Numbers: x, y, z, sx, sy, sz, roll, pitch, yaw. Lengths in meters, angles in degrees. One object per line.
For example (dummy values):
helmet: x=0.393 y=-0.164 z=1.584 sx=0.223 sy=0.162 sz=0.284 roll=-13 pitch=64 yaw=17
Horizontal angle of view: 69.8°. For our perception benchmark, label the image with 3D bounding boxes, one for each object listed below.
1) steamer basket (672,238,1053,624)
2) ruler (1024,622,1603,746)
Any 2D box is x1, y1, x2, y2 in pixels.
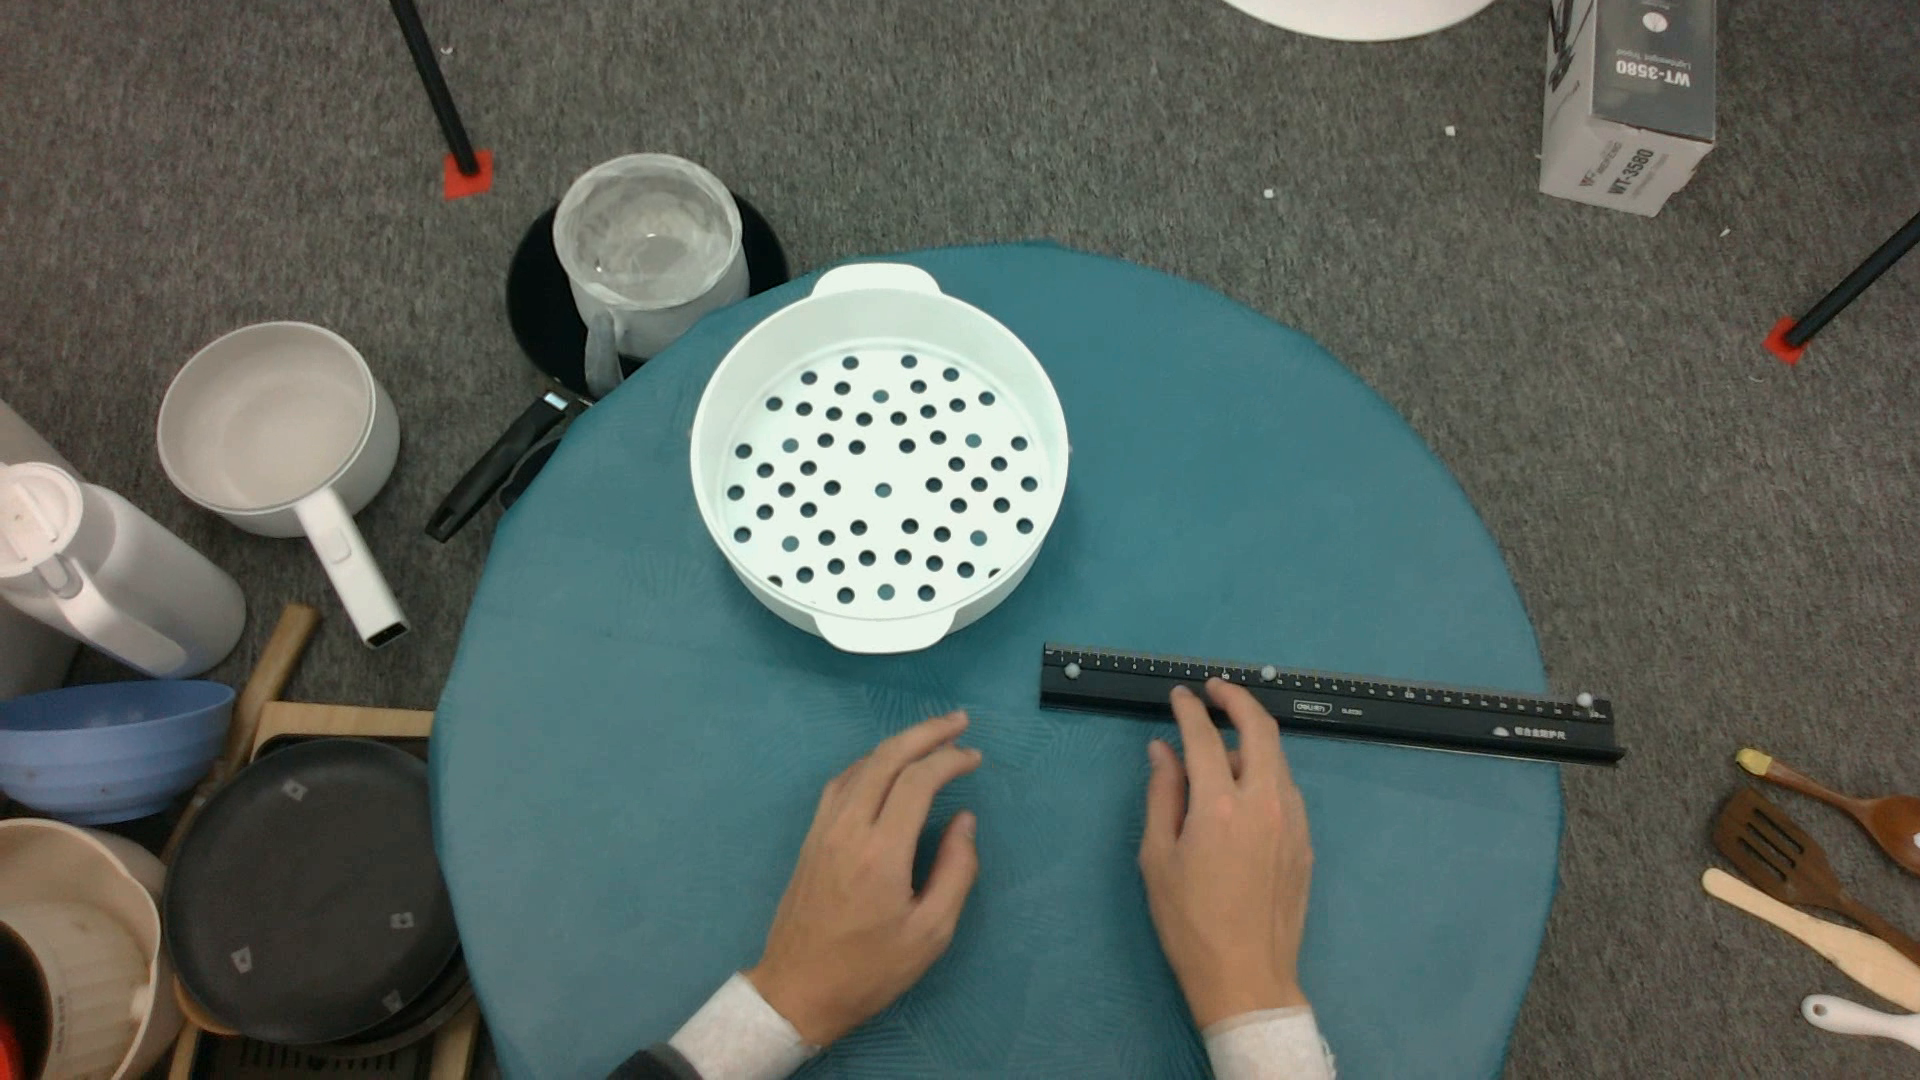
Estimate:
steamer basket: x=-0.052 y=-0.054 z=0.756 sx=0.202 sy=0.069 sz=0.231 roll=-2 pitch=67 yaw=-4
ruler: x=0.191 y=0.076 z=0.746 sx=0.312 sy=0.017 sz=0.039 roll=6 pitch=65 yaw=0
